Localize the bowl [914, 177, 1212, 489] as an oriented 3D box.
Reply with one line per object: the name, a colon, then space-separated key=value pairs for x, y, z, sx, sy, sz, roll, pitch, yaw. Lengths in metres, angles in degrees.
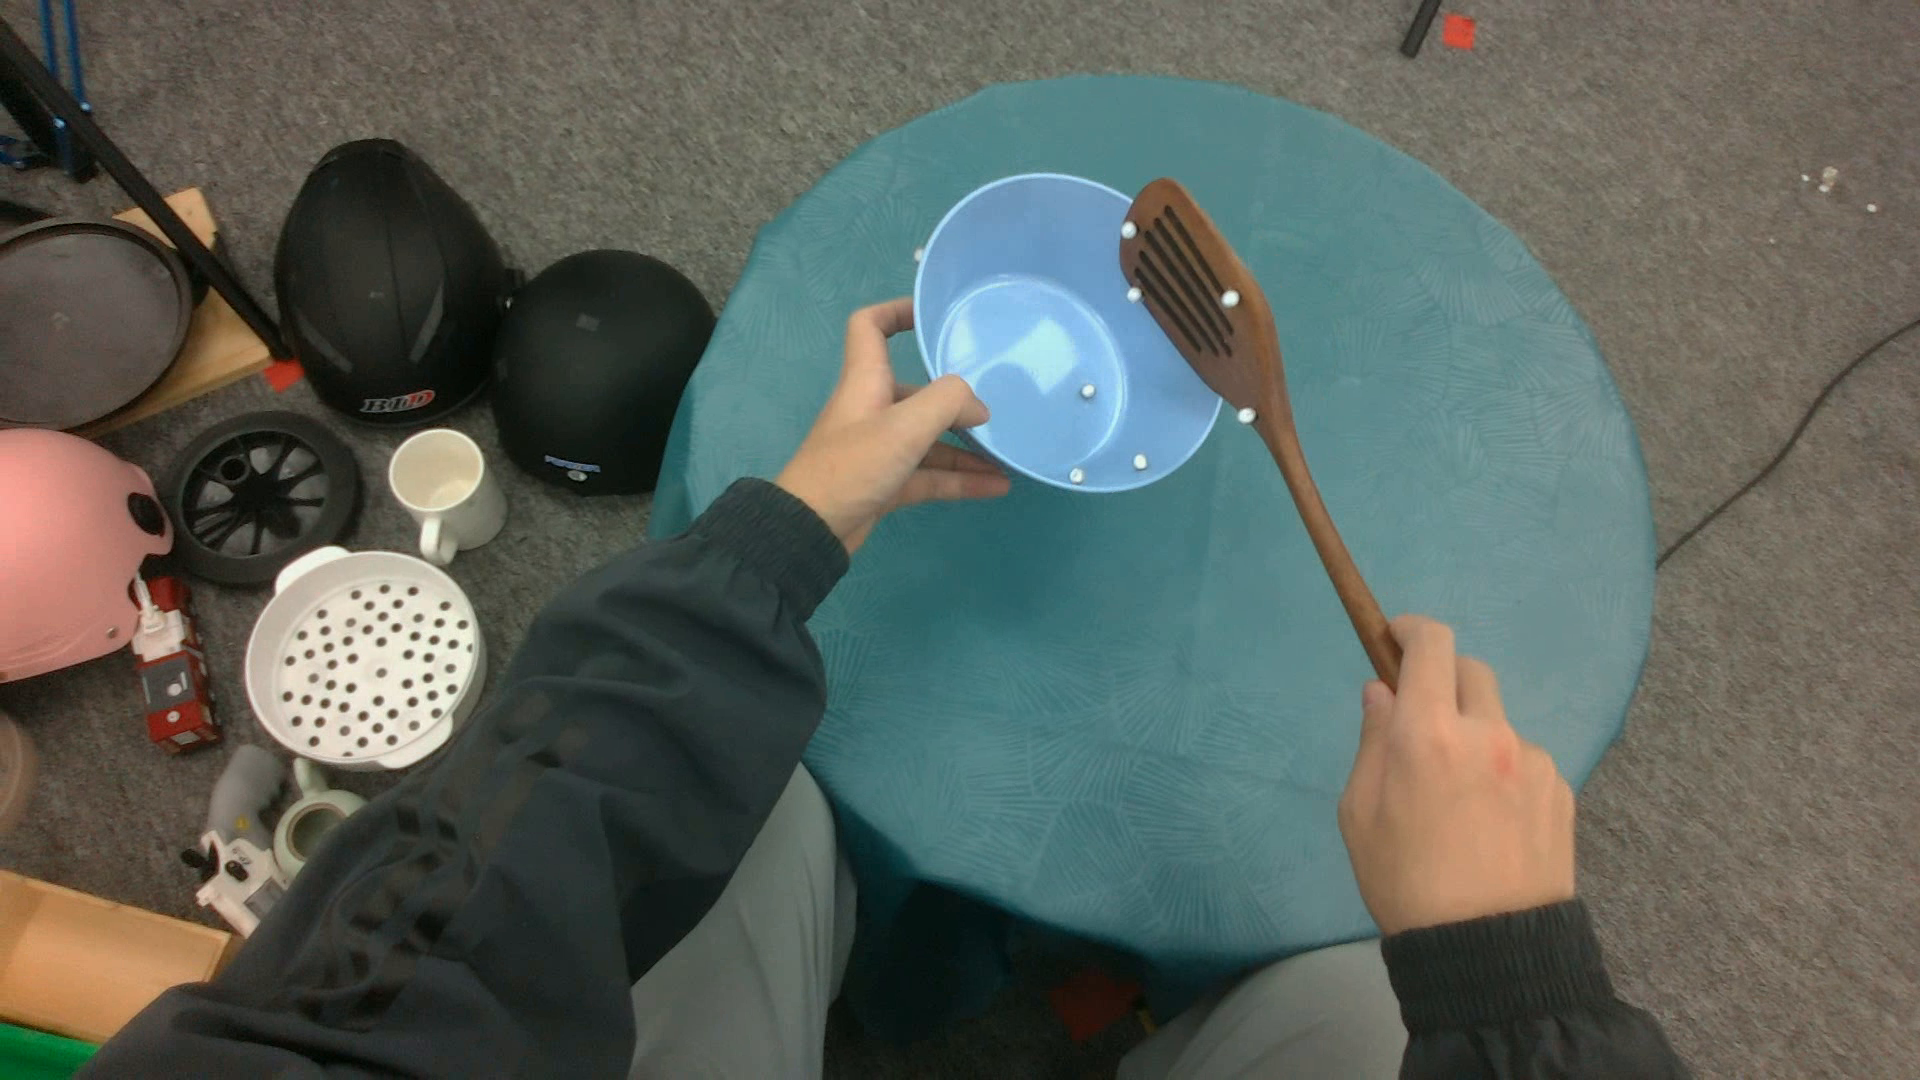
bowl: x=0.047 y=-0.103 z=0.749 sx=0.176 sy=0.070 sz=0.176 roll=6 pitch=72 yaw=-20

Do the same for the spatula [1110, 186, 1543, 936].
spatula: x=0.168 y=0.001 z=0.645 sx=0.024 sy=0.085 sz=0.387 roll=-20 pitch=73 yaw=-16
